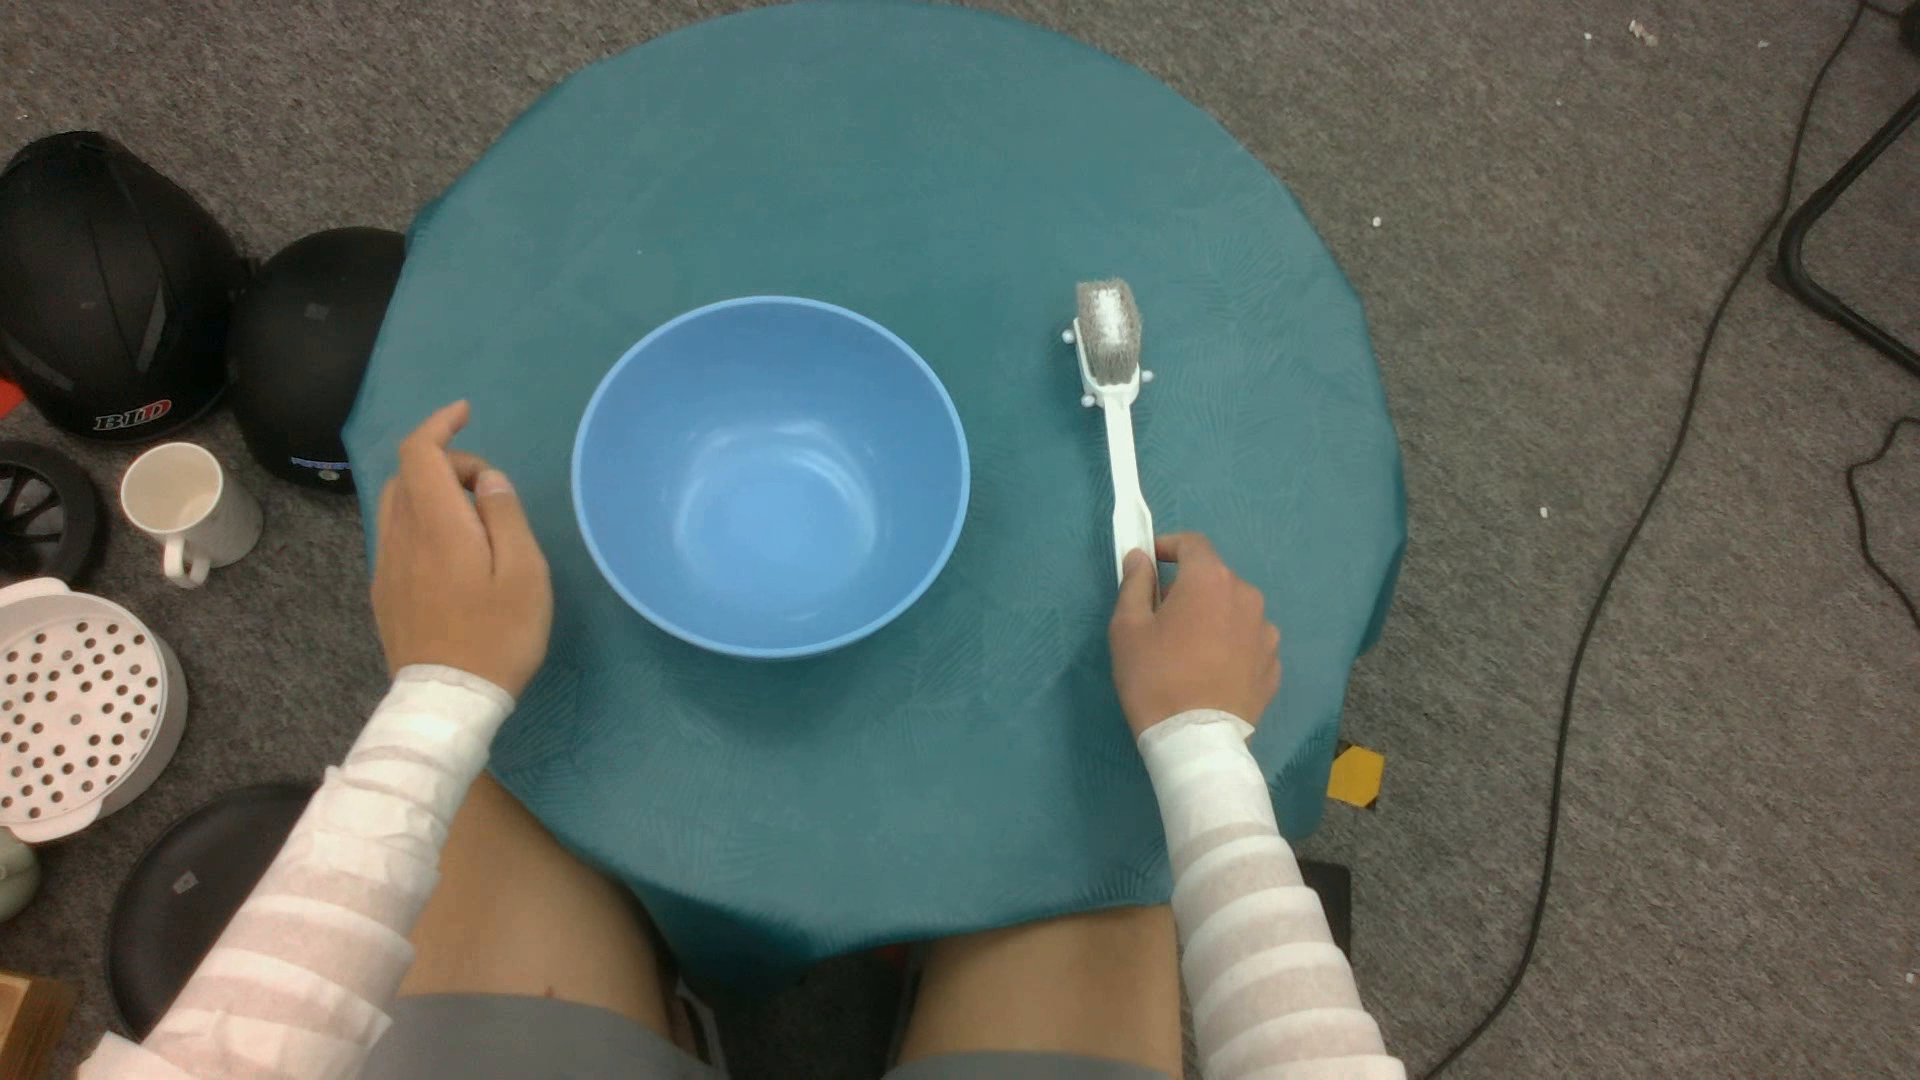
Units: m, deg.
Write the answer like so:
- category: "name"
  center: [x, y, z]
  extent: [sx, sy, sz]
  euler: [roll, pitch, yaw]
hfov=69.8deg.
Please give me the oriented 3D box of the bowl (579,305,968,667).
- category: "bowl"
  center: [-0.099, -0.018, 0.744]
  extent: [0.196, 0.095, 0.197]
  euler: [2, 71, -7]

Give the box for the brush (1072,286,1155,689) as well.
- category: "brush"
  center: [0.089, -0.037, 0.787]
  extent: [0.034, 0.050, 0.244]
  euler: [-4, 67, 2]
